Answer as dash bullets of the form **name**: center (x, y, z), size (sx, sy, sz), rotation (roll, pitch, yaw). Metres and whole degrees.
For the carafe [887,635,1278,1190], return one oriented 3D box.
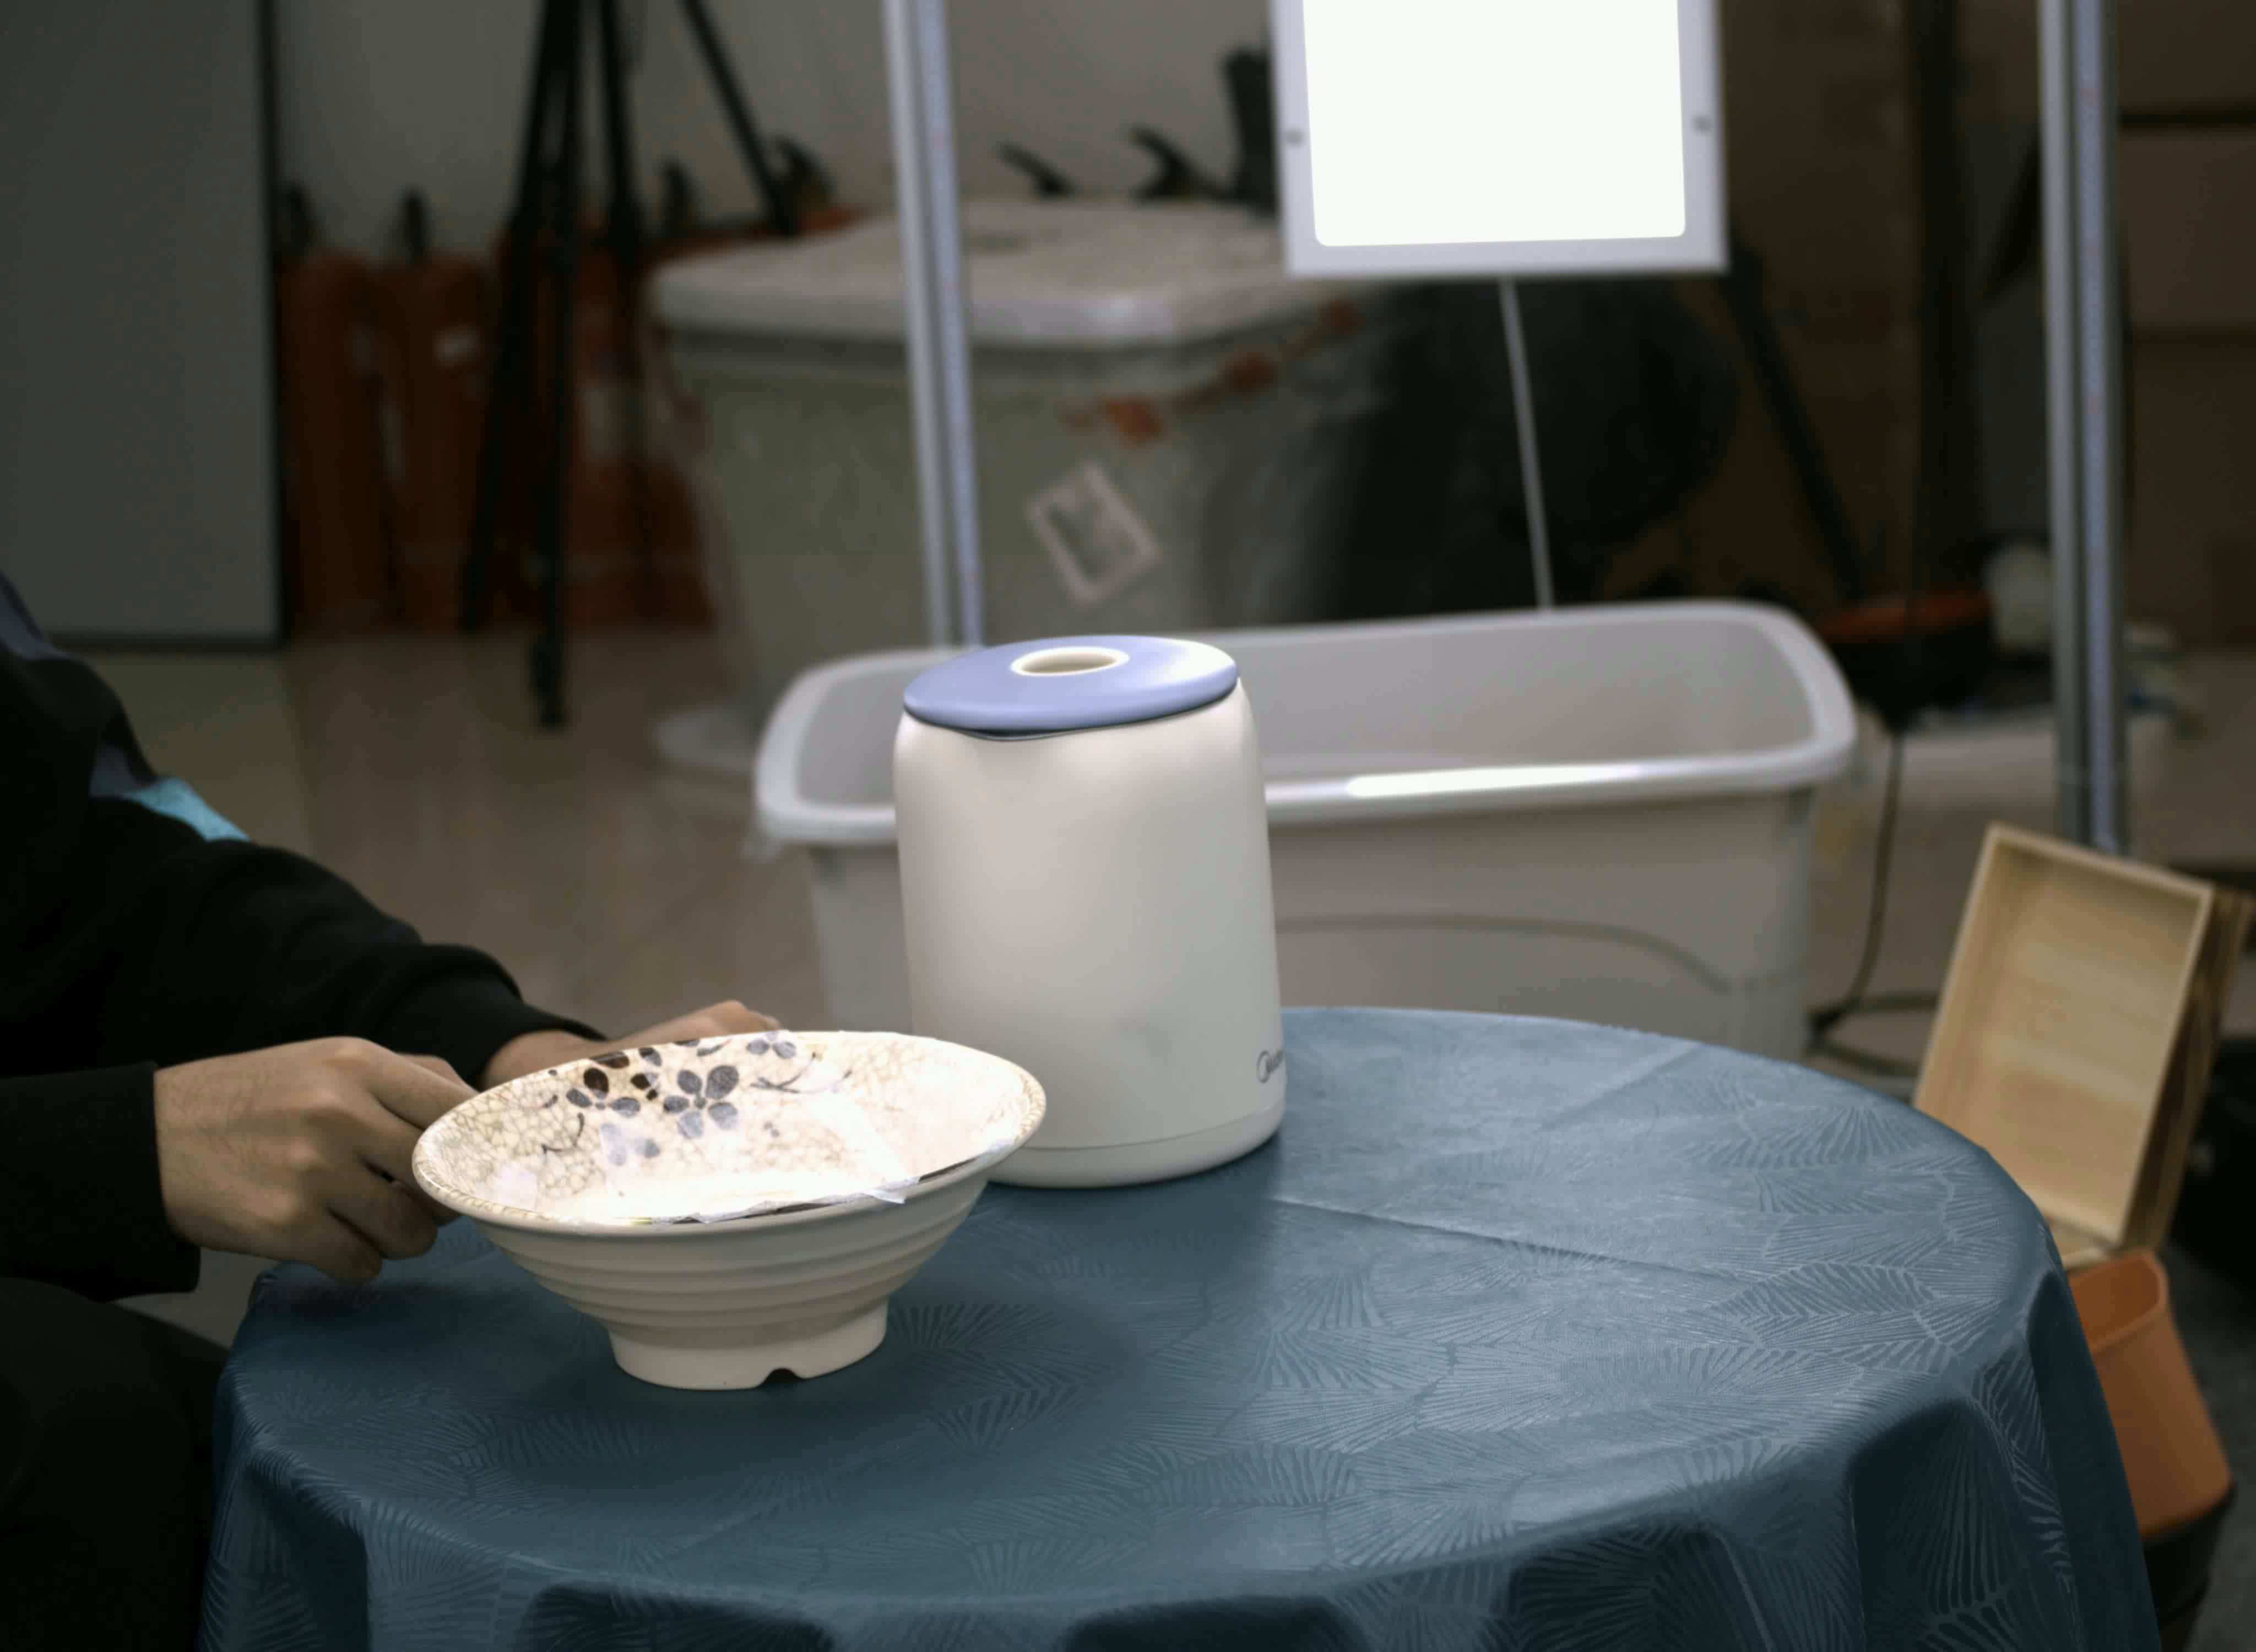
- **carafe**: center (-0.008, 0.024, 1.958), size (0.134, 0.183, 0.188), rotation (1, 13, 19)

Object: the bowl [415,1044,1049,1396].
- **bowl**: center (-0.122, 0.132, 1.762), size (0.203, 0.078, 0.204), rotation (-7, 12, 0)
